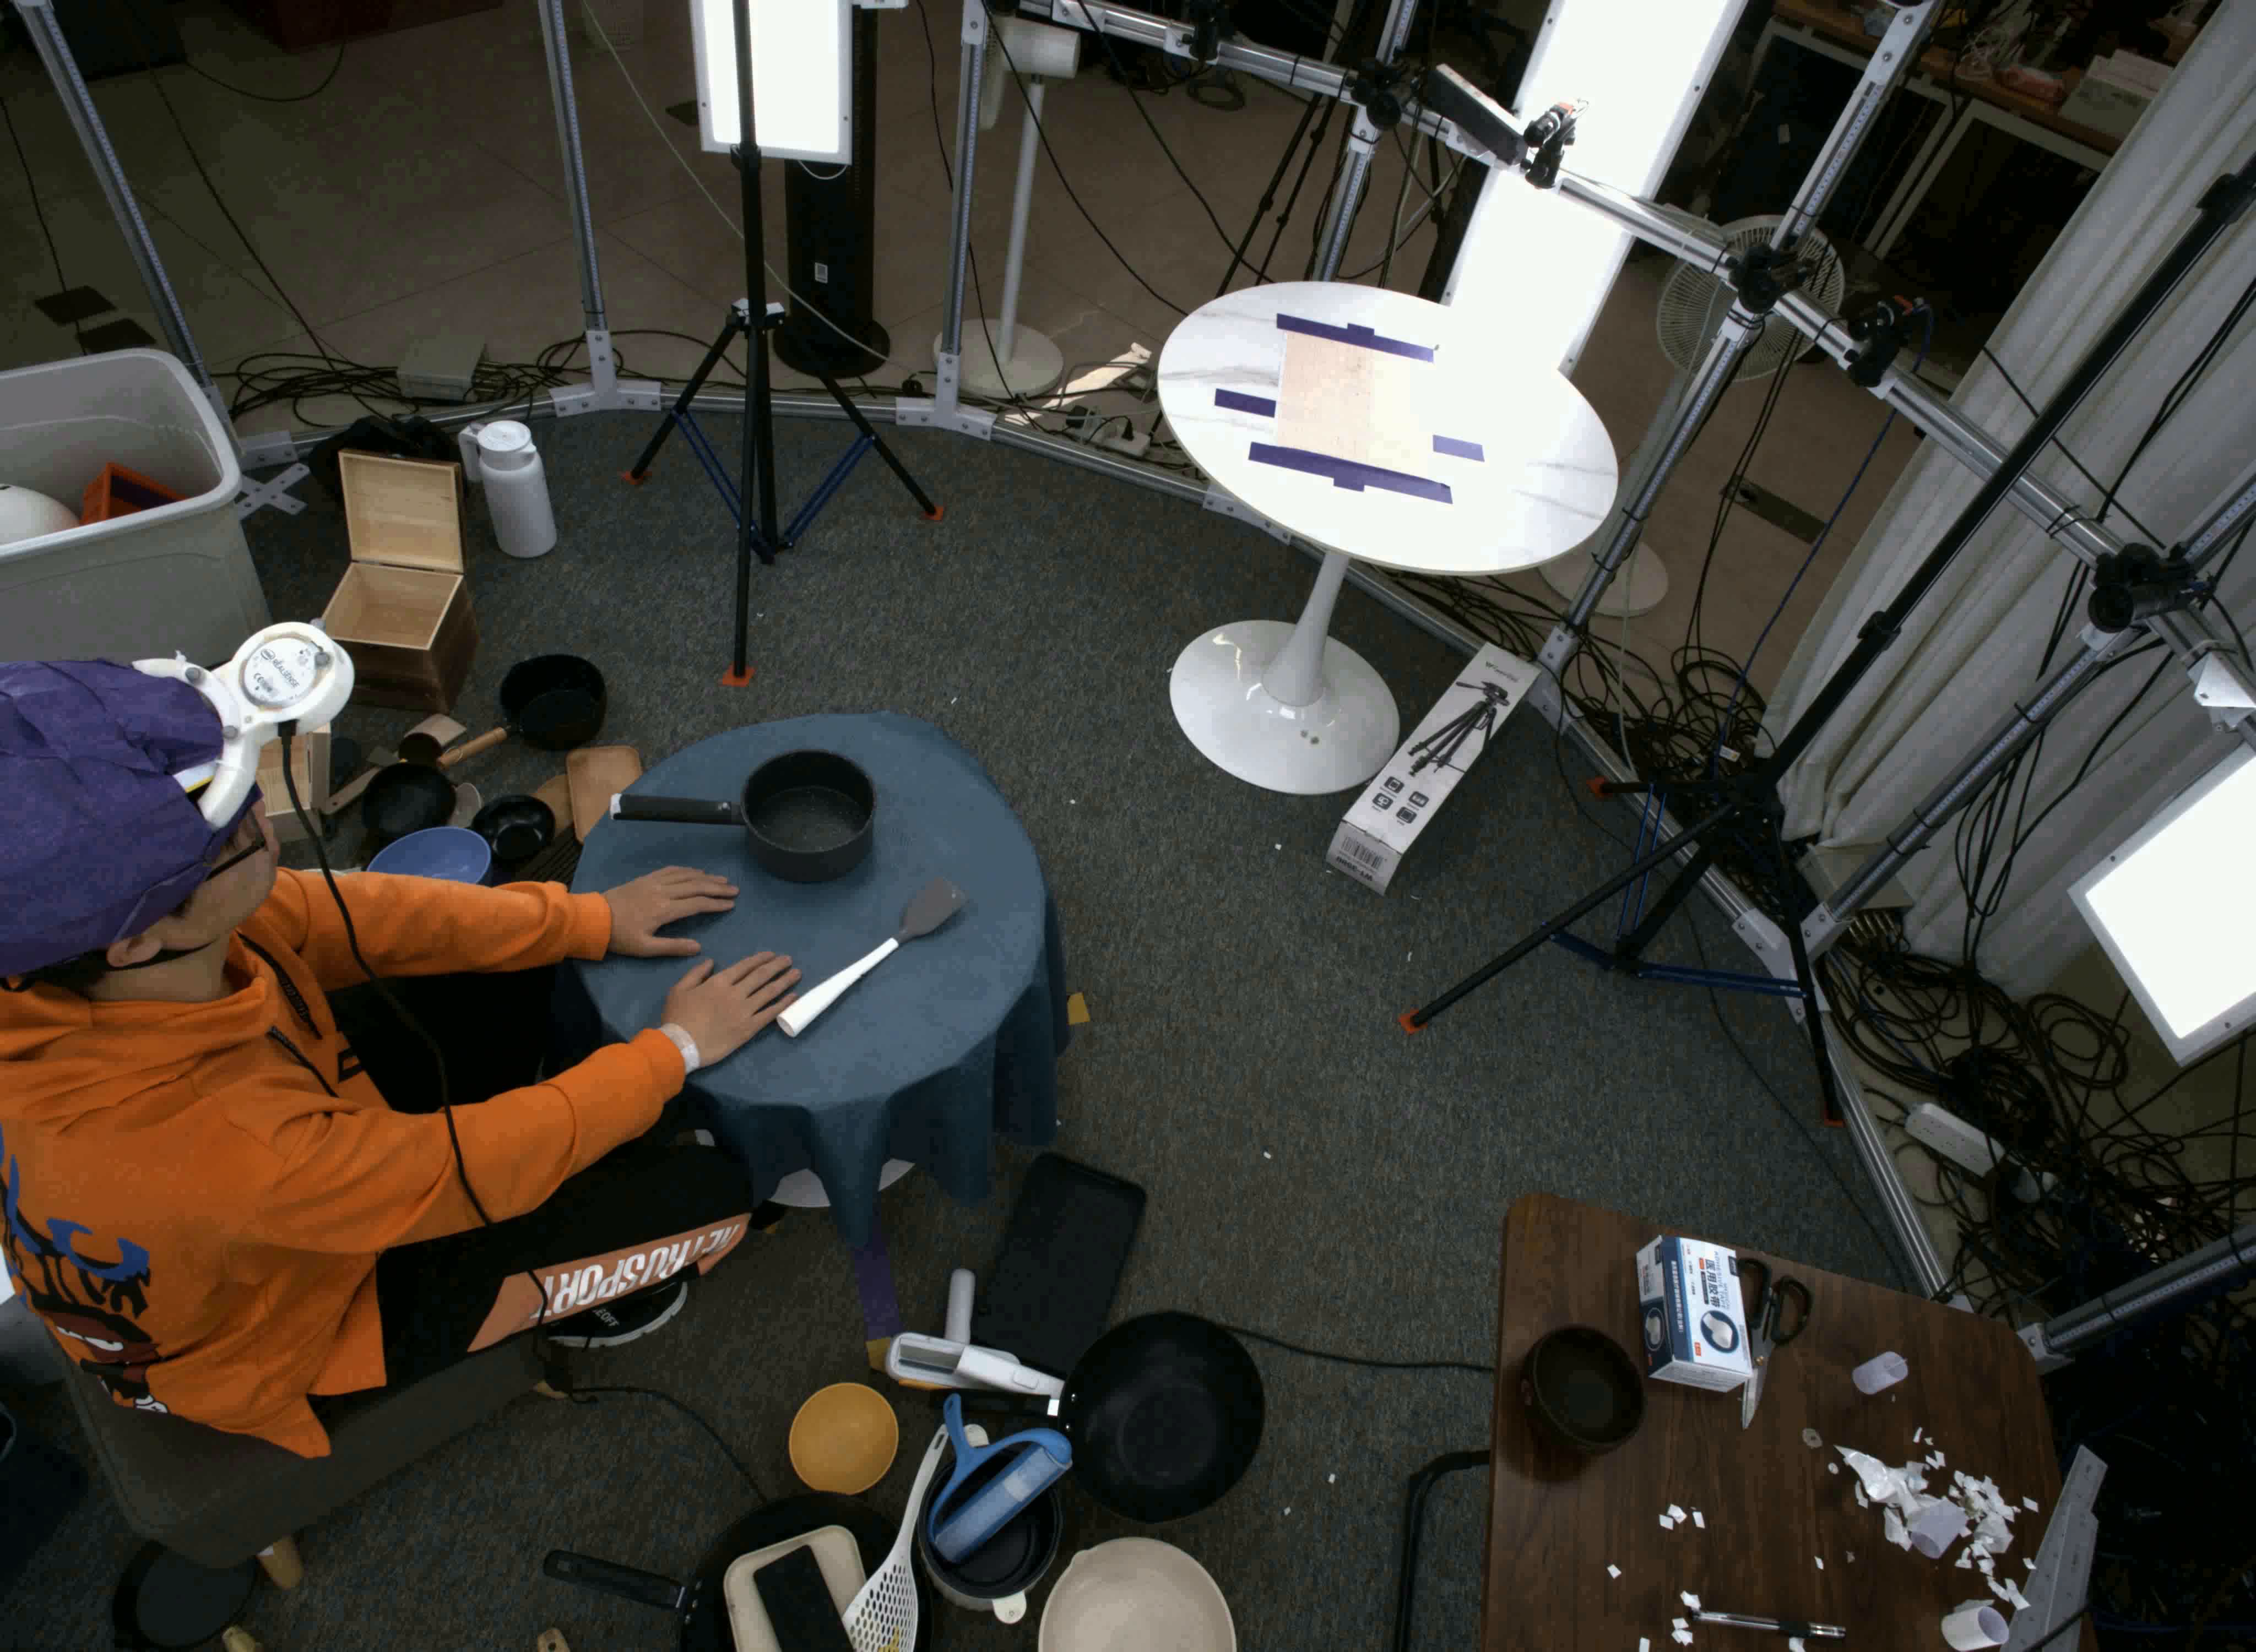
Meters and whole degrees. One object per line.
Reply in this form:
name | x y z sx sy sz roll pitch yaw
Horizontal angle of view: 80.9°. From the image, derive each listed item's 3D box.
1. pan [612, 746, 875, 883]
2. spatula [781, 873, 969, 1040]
pan | -0.490 -0.014 1.652 0.330 0.088 0.168 0 53 -17
spatula | -0.311 0.157 1.606 0.057 0.033 0.288 36 54 17
